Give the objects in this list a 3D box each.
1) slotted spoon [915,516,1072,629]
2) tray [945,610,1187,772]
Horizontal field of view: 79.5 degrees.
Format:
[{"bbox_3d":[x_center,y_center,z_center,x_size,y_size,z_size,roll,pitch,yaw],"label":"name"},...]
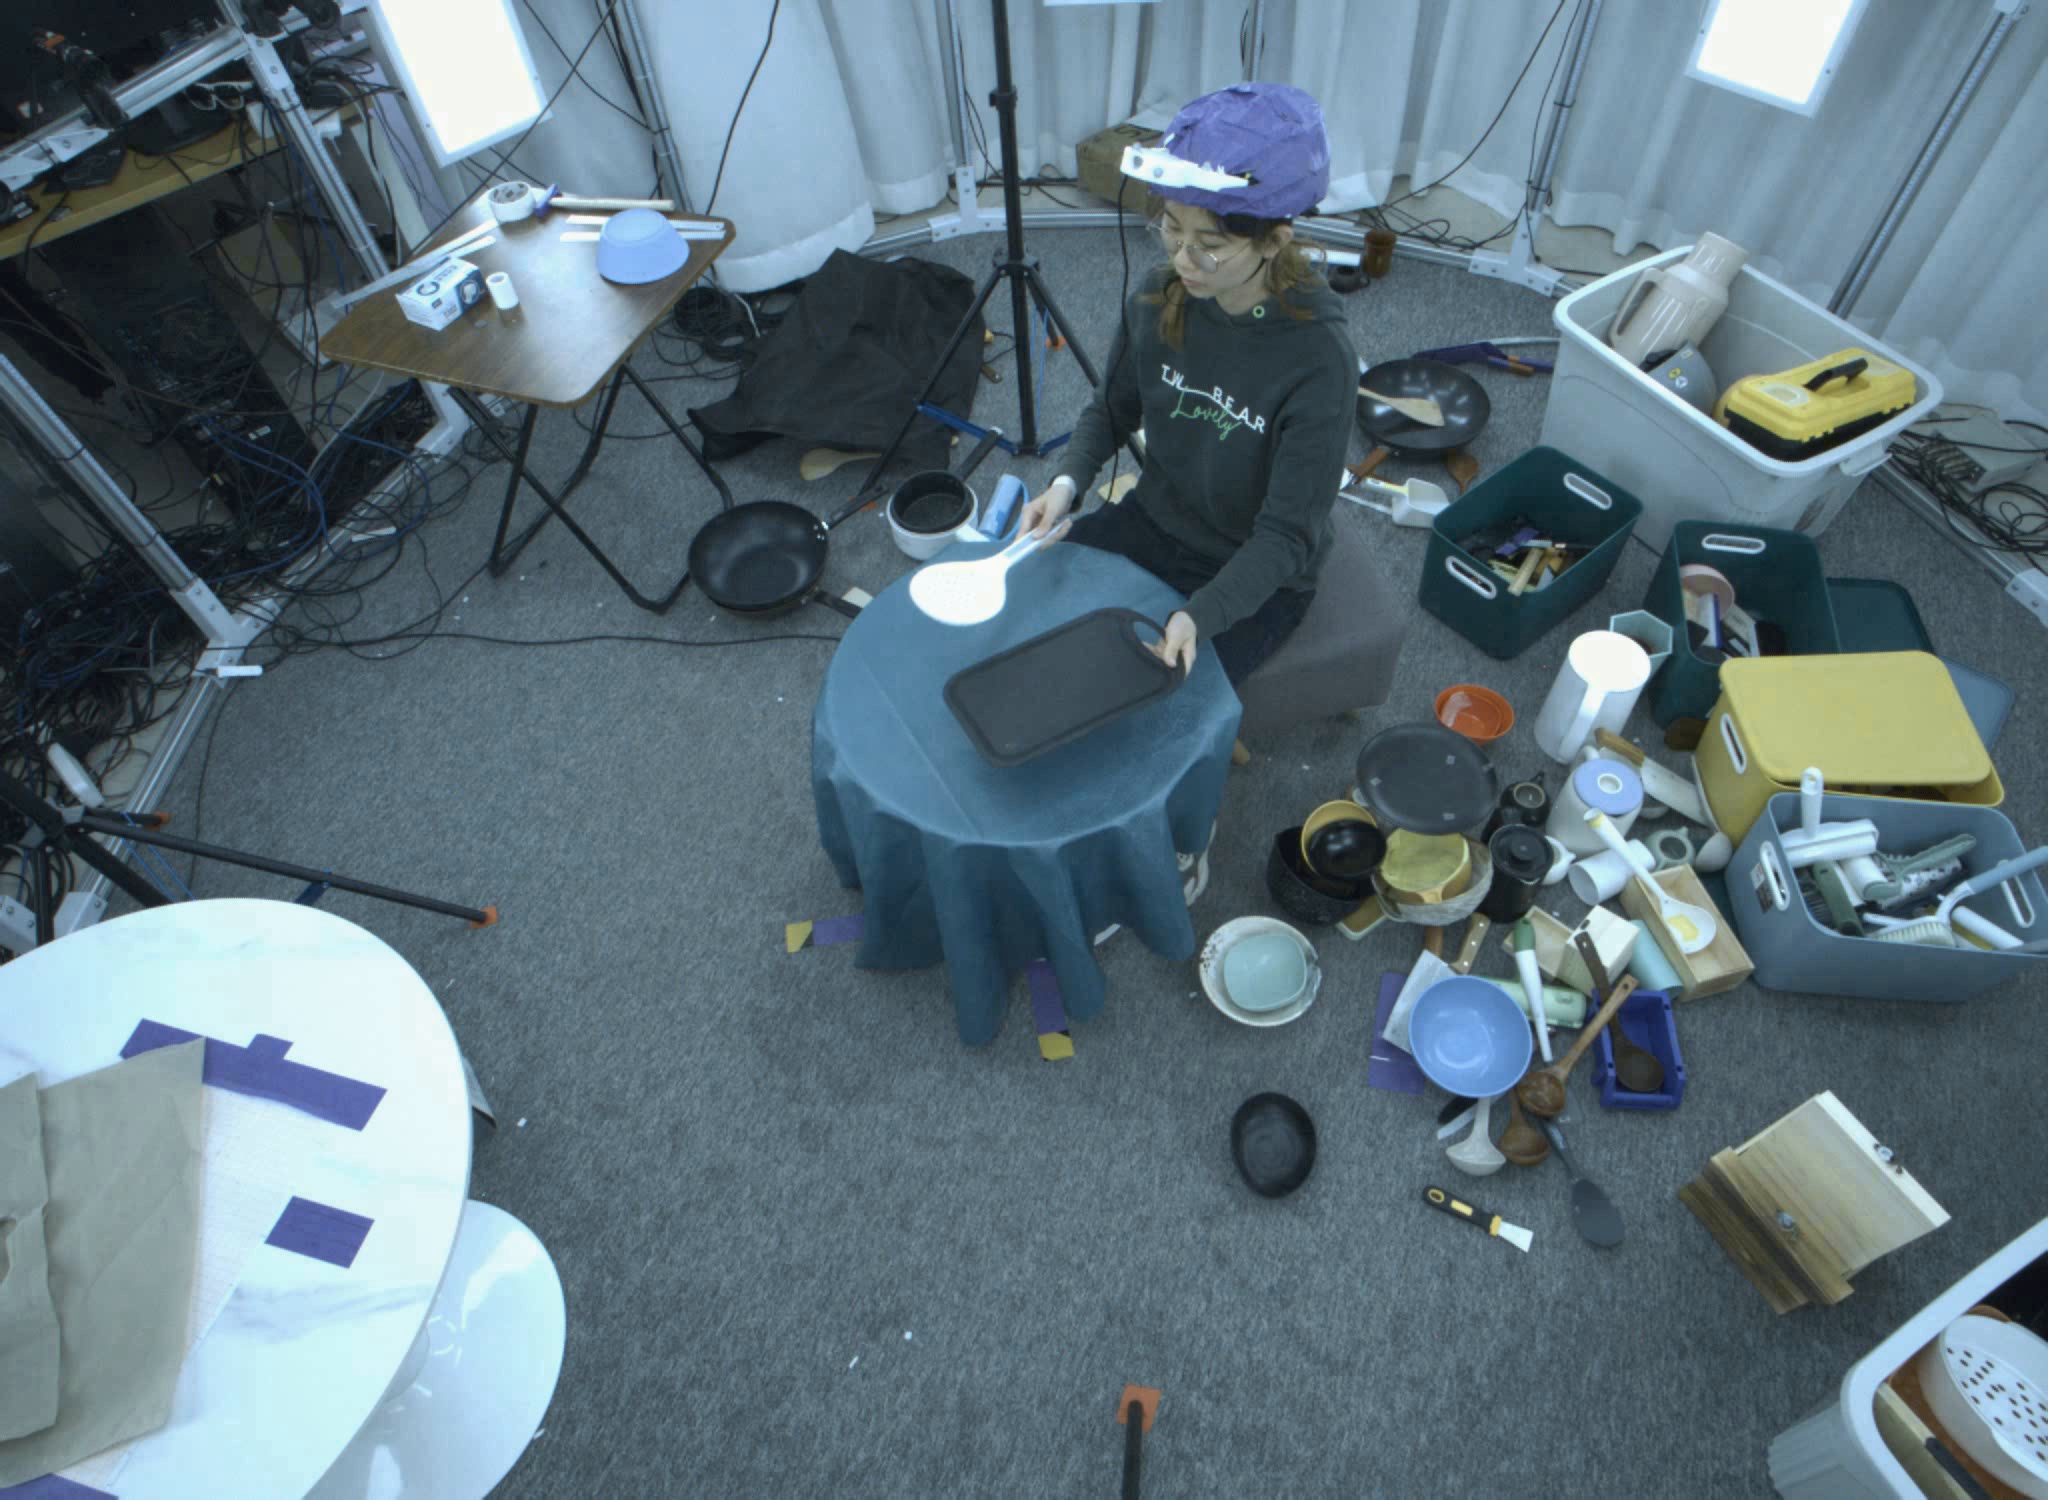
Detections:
[{"bbox_3d":[-0.032,-0.275,1.844,0.134,0.046,0.352,34,52,14],"label":"slotted spoon"},{"bbox_3d":[0.062,-0.093,1.707,0.327,0.010,0.207,-25,50,-13],"label":"tray"}]
